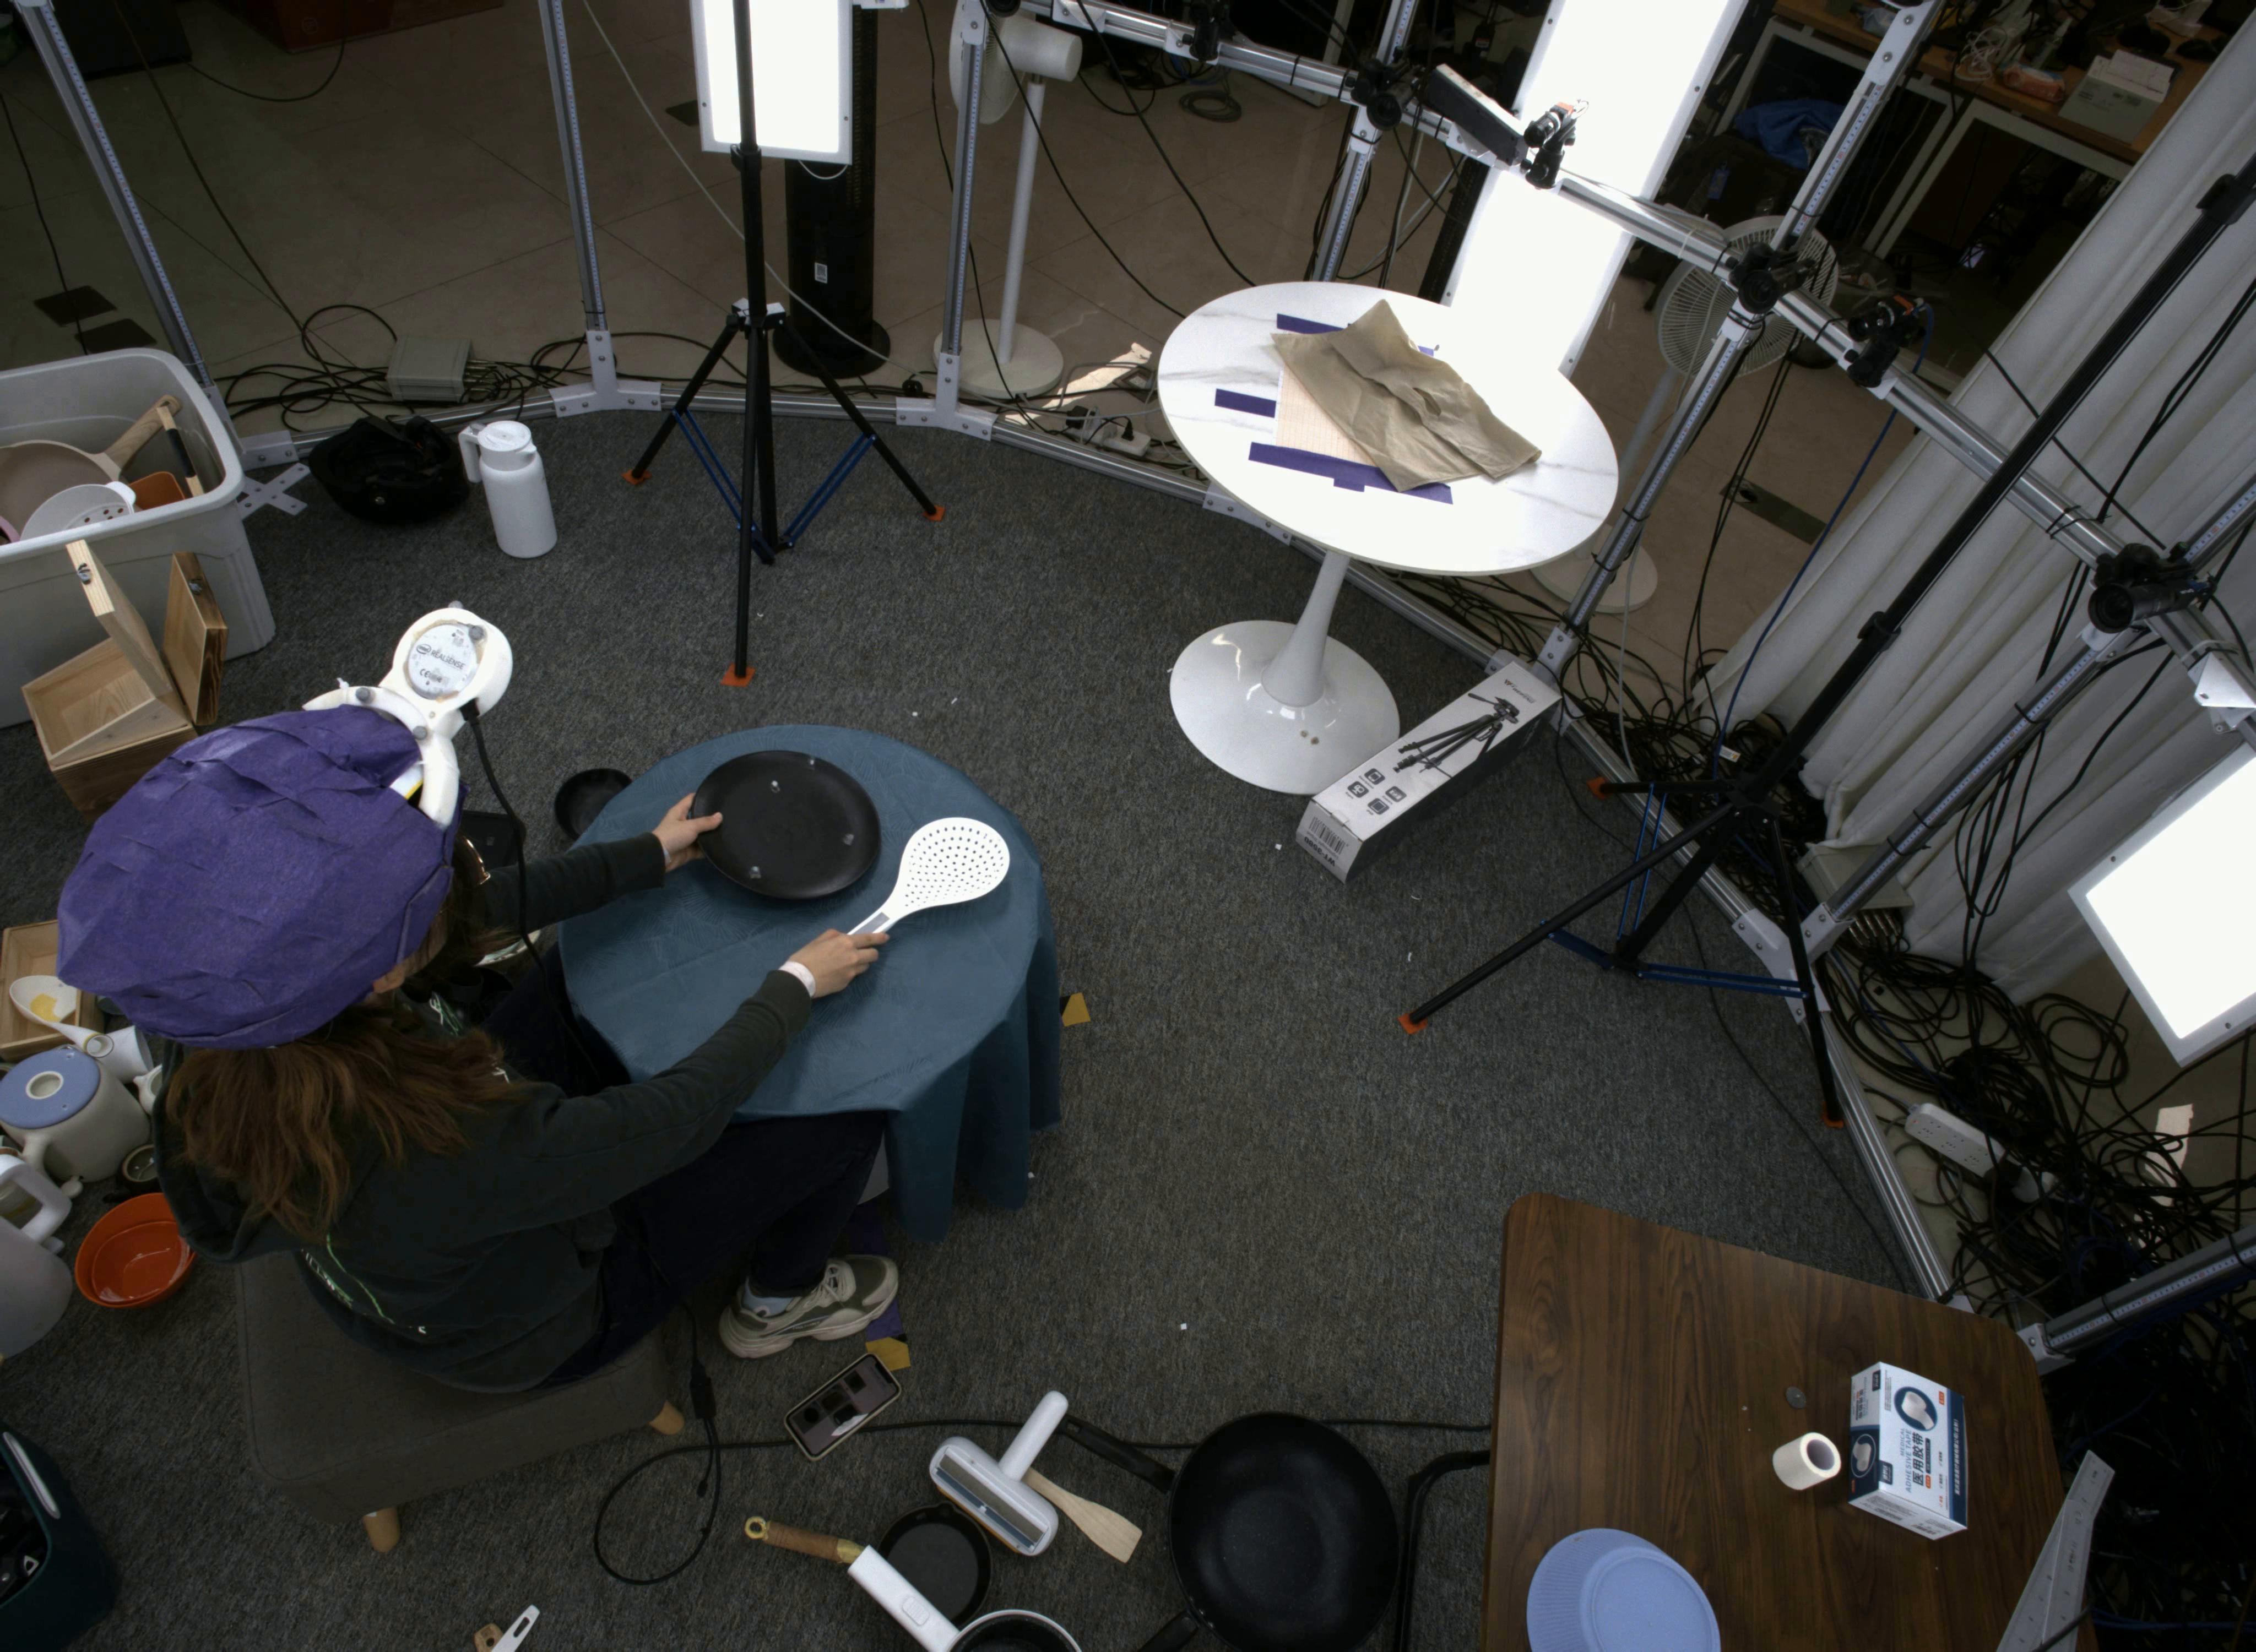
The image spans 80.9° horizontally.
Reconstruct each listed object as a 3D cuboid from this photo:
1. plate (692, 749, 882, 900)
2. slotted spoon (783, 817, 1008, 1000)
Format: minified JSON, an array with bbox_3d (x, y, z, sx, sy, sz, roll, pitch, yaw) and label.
[{"bbox_3d":[-0.444,-0.001,1.689,0.246,0.023,0.240,16,49,-16],"label":"plate"},{"bbox_3d":[-0.294,0.103,1.647,0.132,0.047,0.350,36,50,20],"label":"slotted spoon"}]
